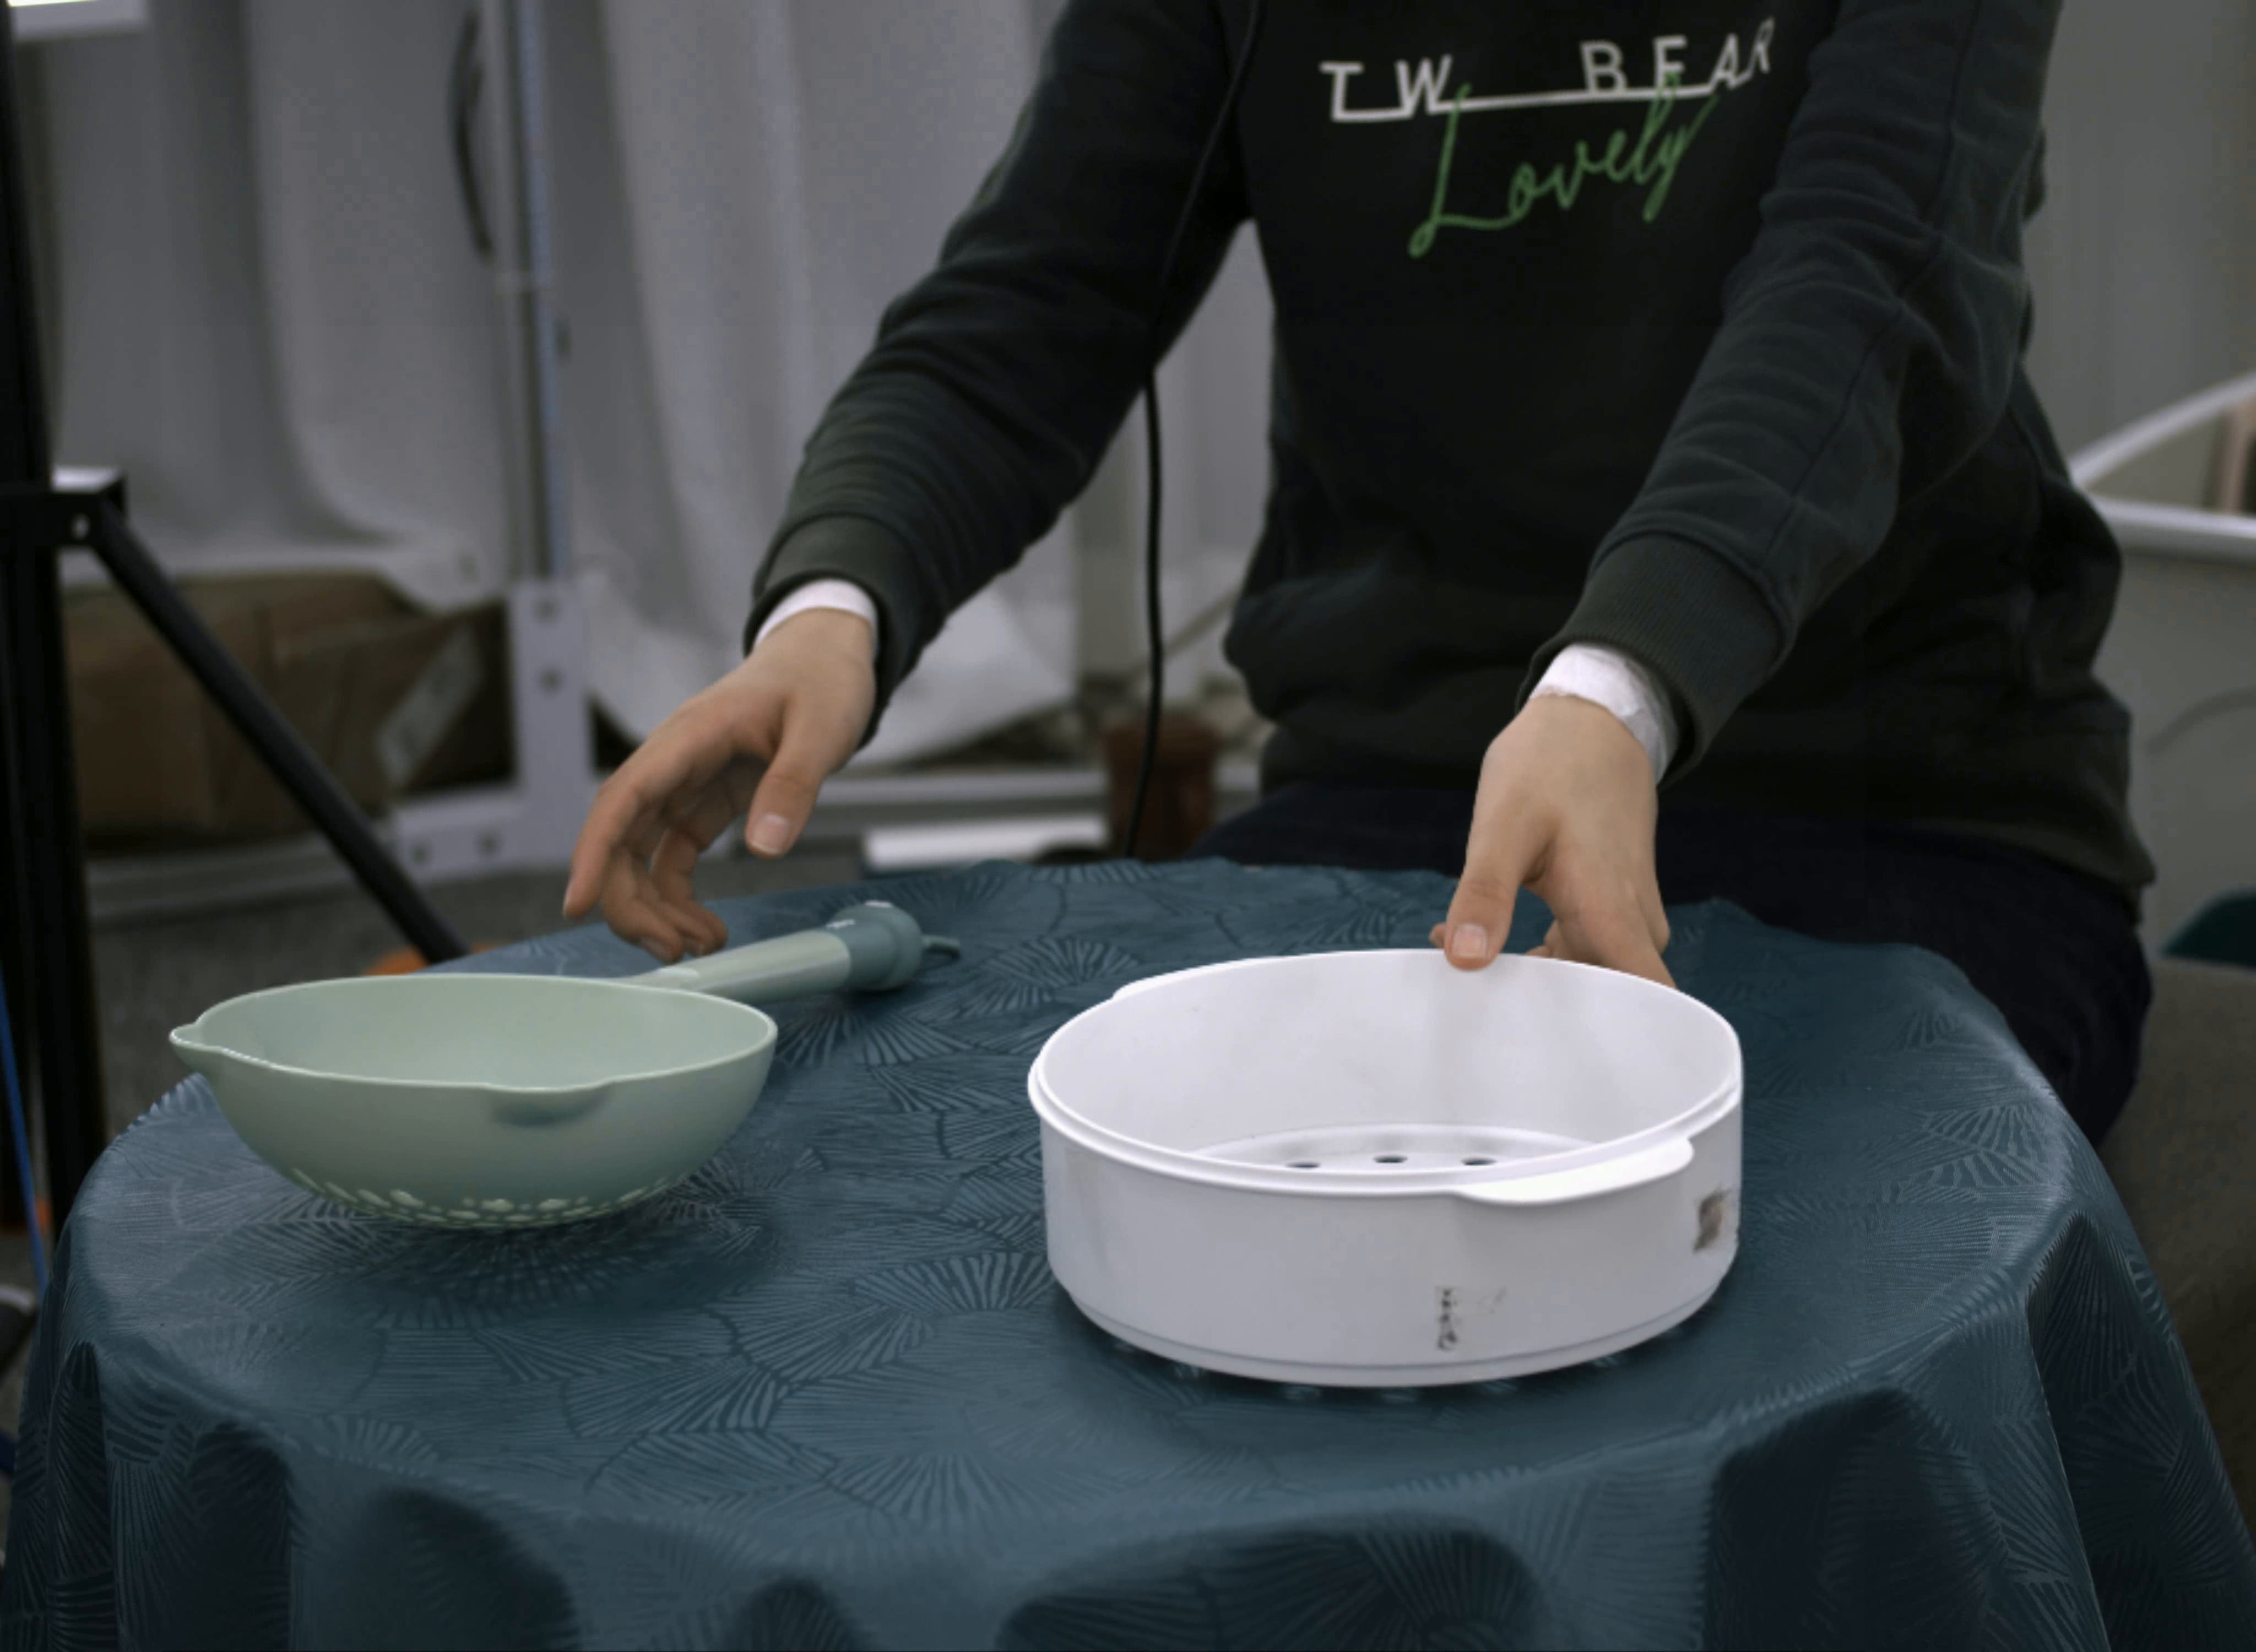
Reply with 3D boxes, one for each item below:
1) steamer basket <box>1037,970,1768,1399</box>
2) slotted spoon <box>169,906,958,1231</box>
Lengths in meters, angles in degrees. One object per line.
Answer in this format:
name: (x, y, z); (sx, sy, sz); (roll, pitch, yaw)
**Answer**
steamer basket: (0.076, 0.098, 1.464); (0.197, 0.069, 0.235); (-9, 16, -27)
slotted spoon: (-0.143, 0.059, 1.639); (0.172, 0.075, 0.353); (6, 18, 26)
